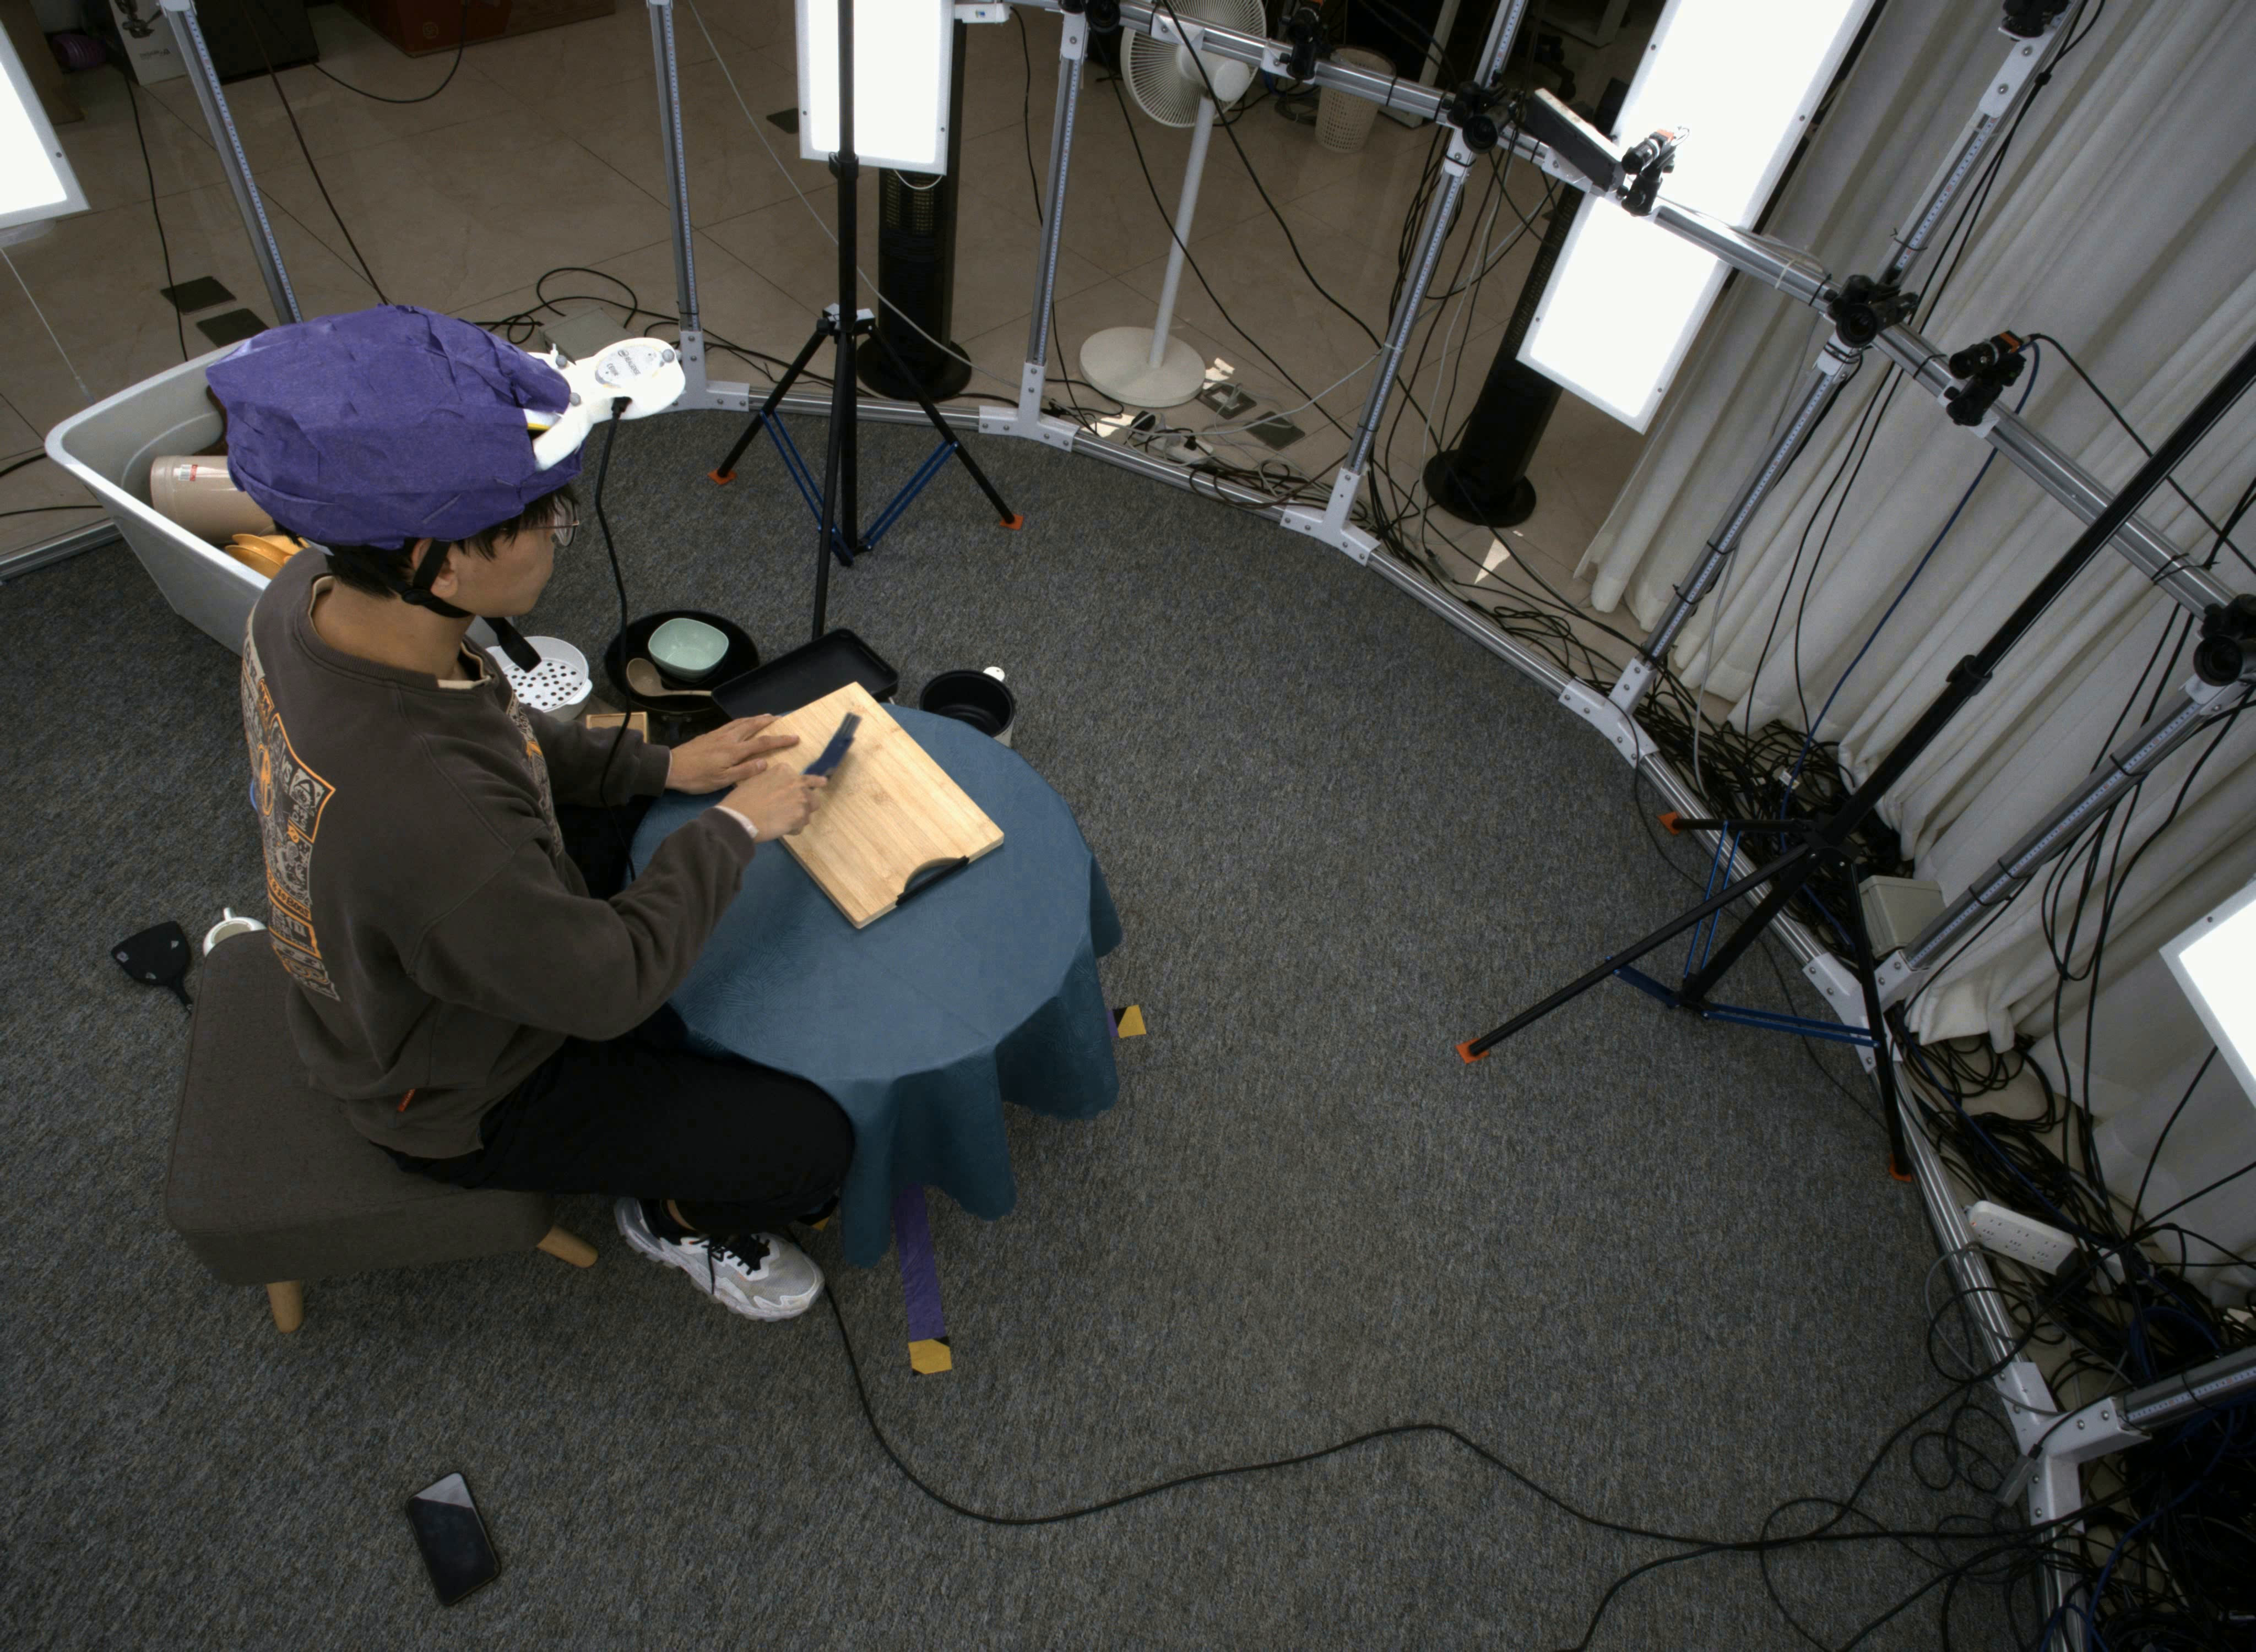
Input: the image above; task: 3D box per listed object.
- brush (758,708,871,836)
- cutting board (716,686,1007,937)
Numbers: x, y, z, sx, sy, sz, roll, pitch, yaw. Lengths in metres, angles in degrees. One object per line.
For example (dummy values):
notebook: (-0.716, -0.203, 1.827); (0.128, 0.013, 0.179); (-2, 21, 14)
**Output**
brush: (-0.399, -0.072, 1.666); (0.033, 0.097, 0.270); (26, 24, -2)
cutting board: (-0.363, -0.033, 1.767); (0.251, 0.024, 0.340); (-35, 68, -31)
